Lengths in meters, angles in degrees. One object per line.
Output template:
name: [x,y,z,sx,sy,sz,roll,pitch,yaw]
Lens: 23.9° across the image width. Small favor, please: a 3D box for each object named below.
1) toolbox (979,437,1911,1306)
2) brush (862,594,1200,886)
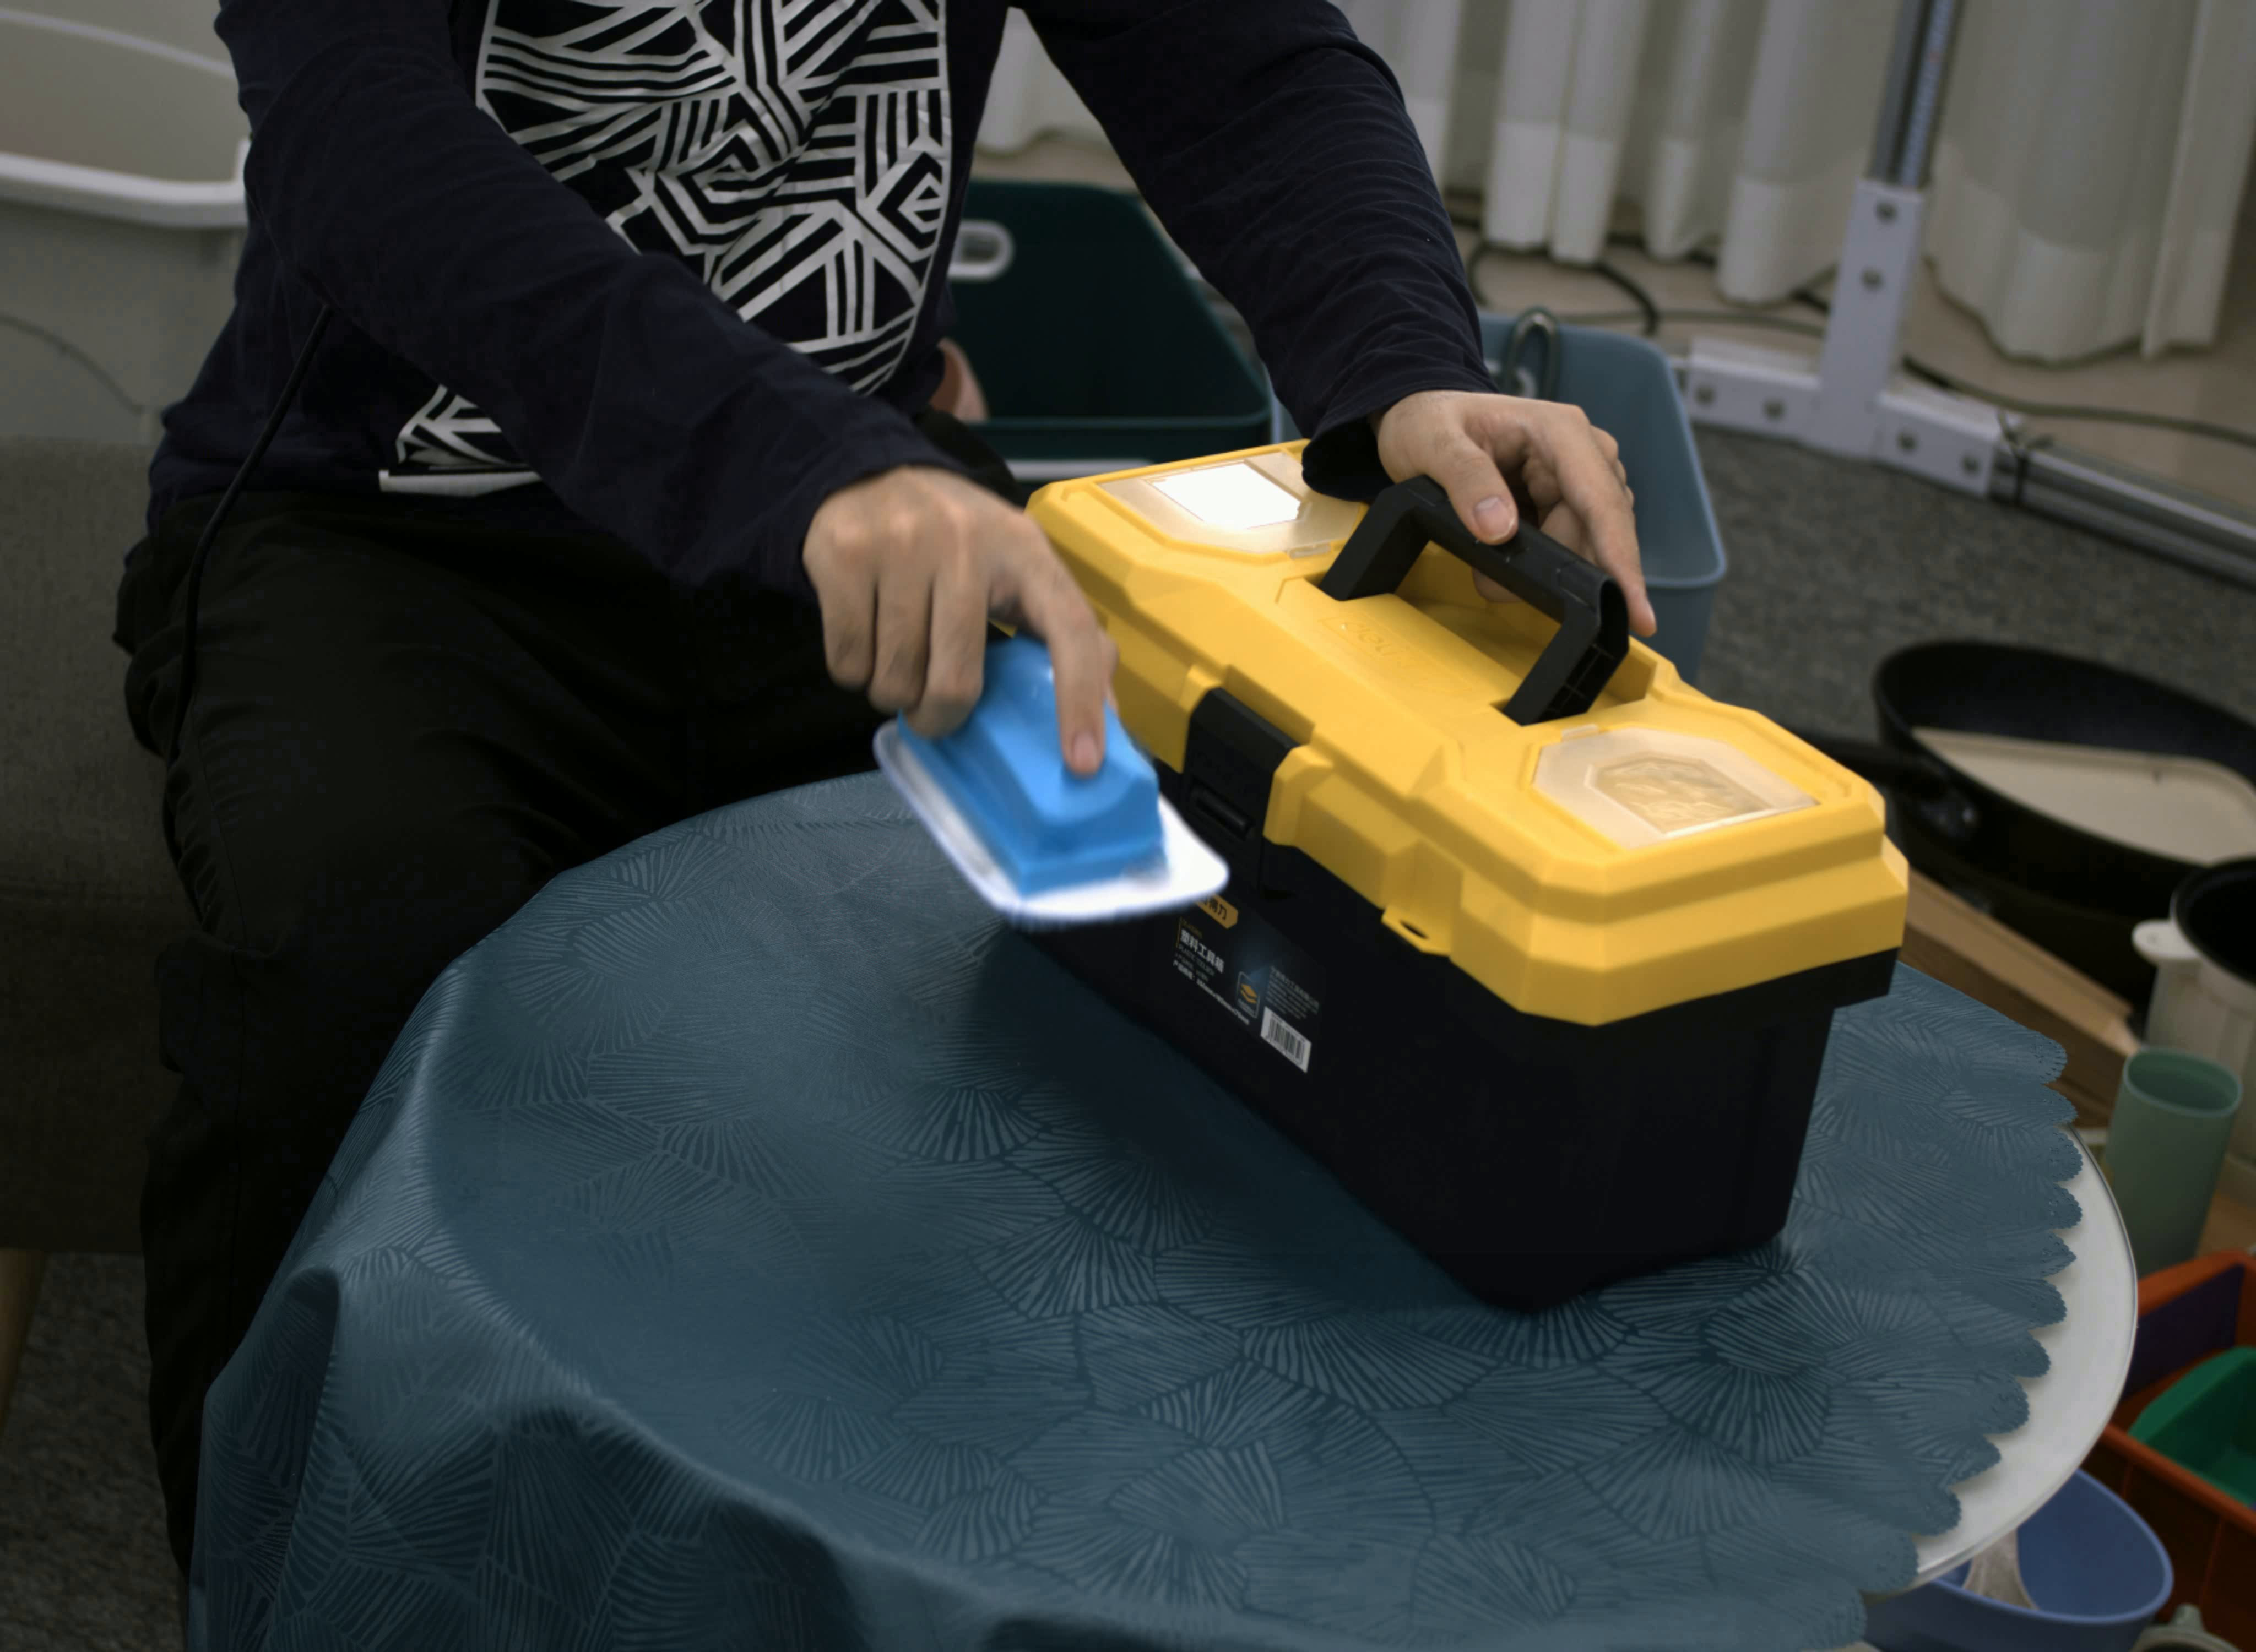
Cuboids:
toolbox: [0.096,0.010,1.859,0.180,0.172,0.354,-12,32,-33]
brush: [-0.030,-0.032,1.725,0.083,0.056,0.145,-5,31,-18]
